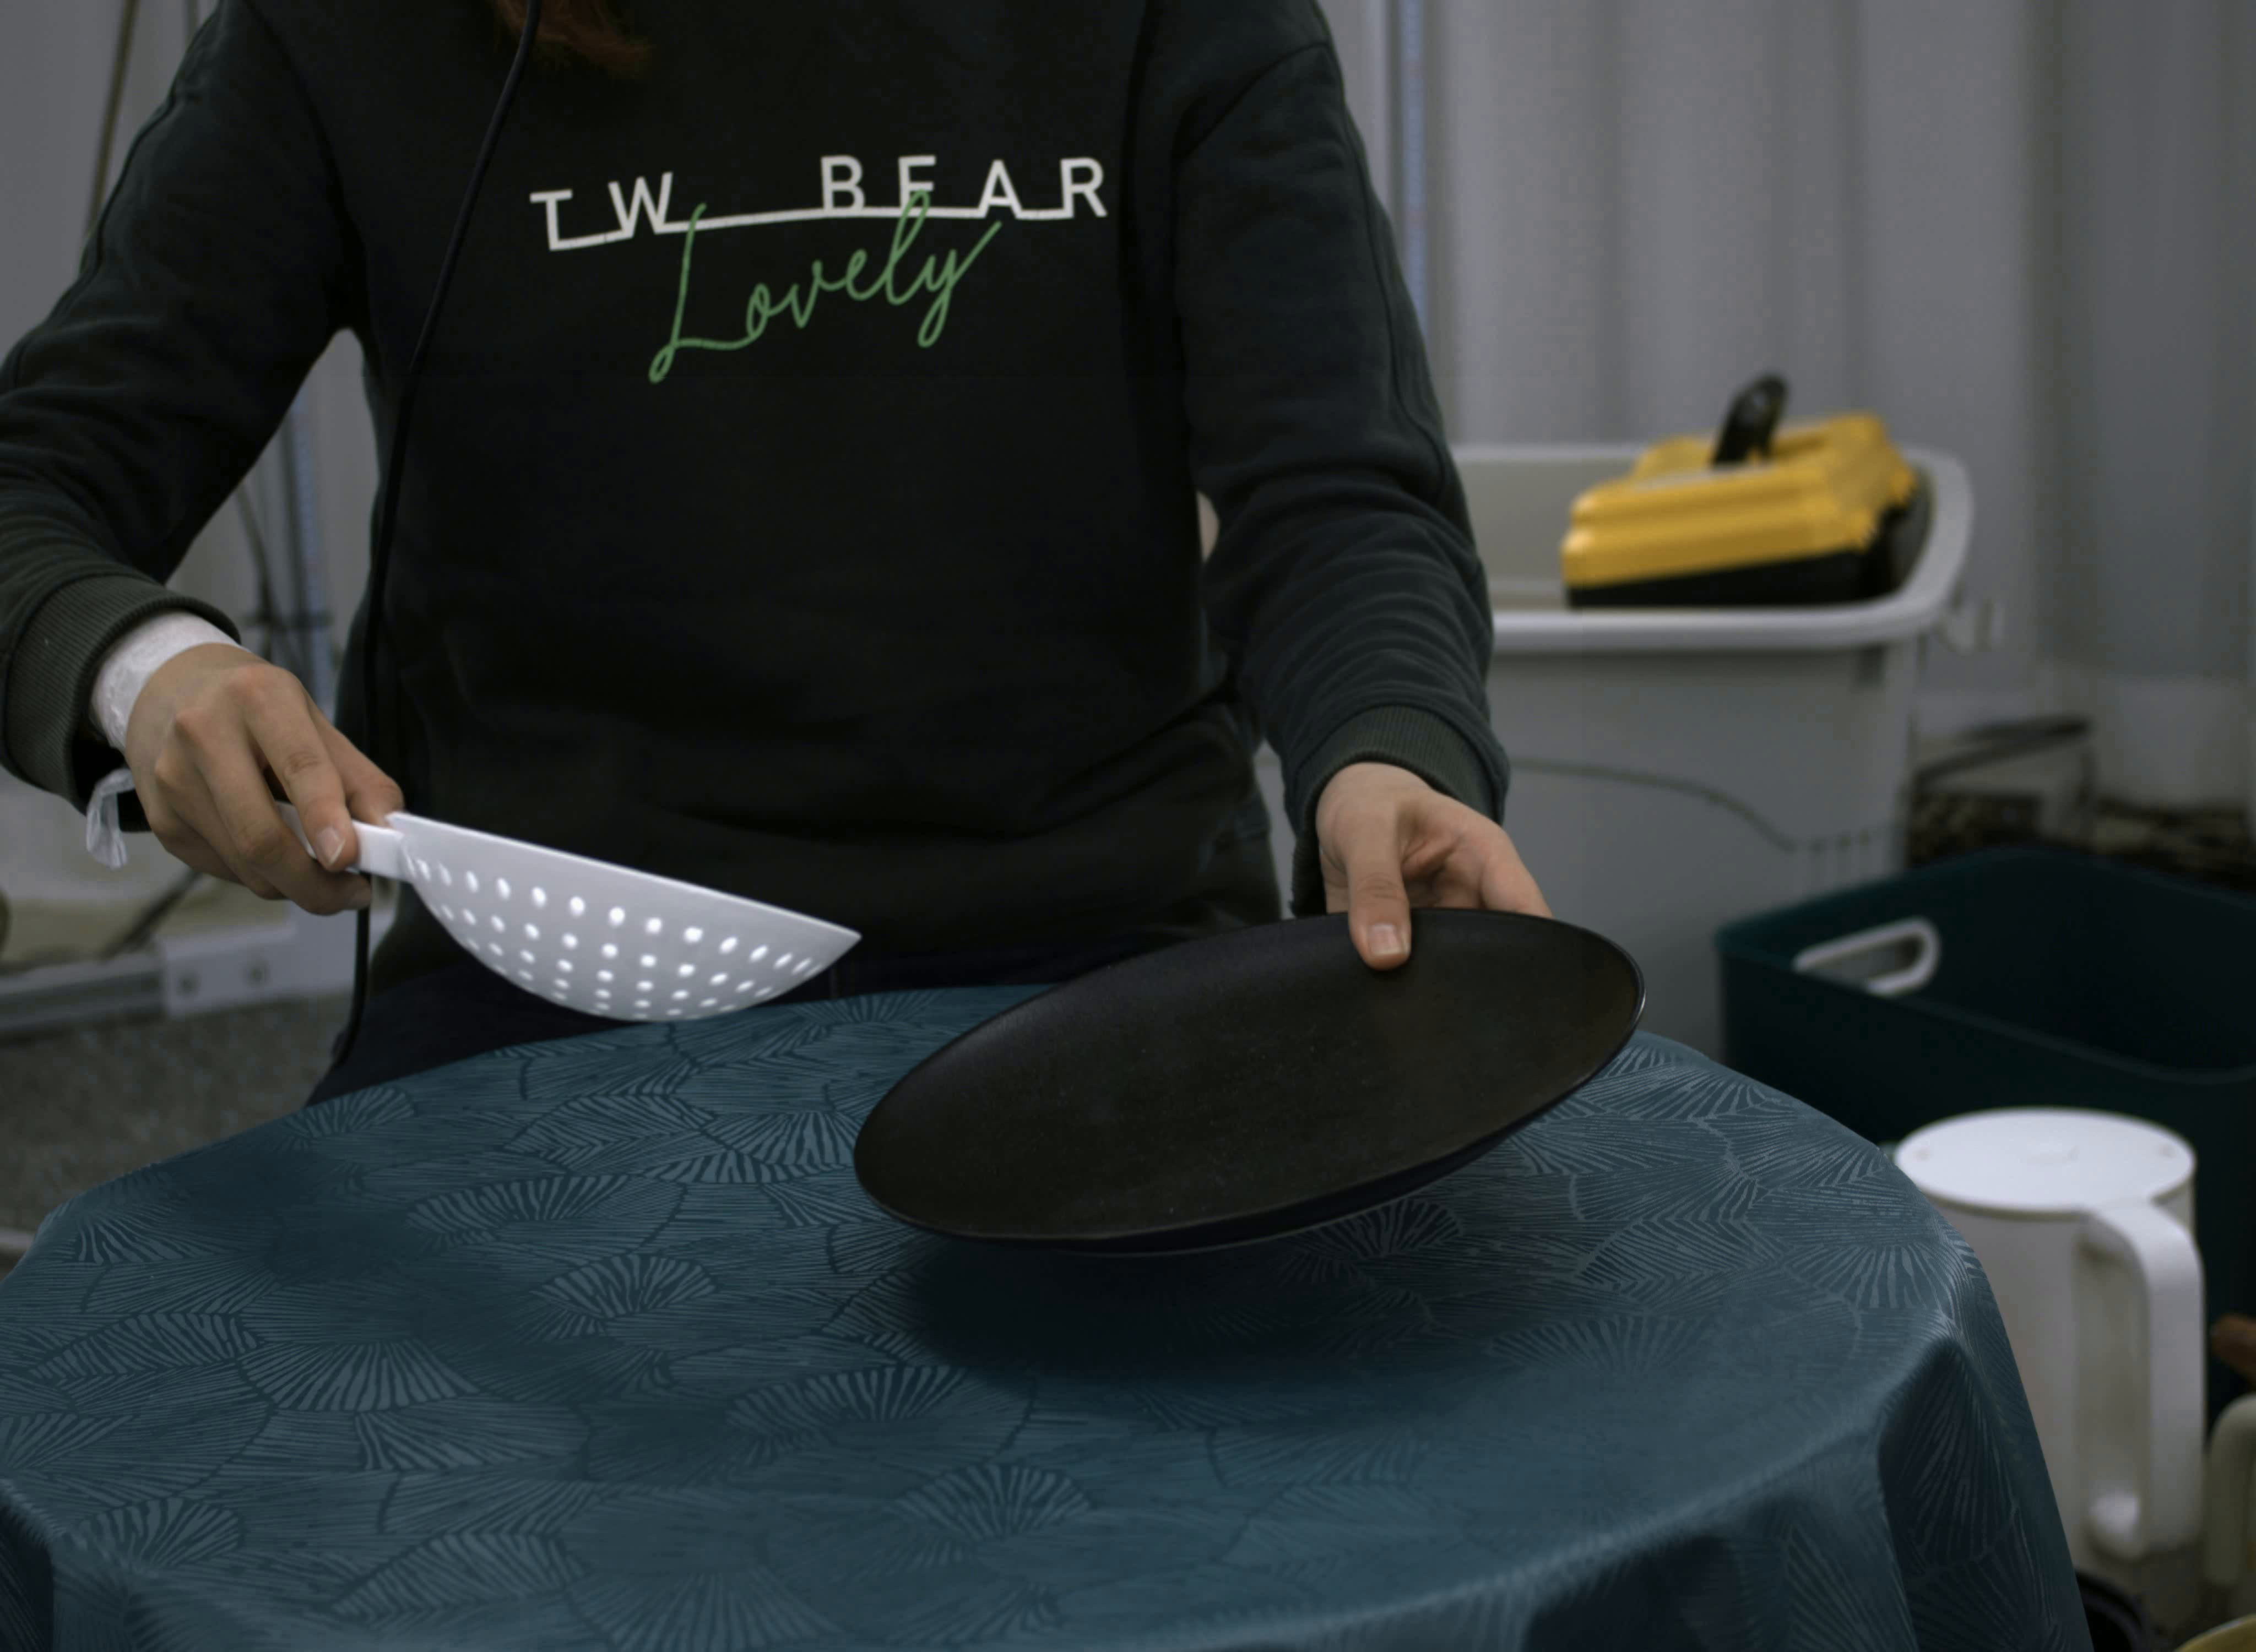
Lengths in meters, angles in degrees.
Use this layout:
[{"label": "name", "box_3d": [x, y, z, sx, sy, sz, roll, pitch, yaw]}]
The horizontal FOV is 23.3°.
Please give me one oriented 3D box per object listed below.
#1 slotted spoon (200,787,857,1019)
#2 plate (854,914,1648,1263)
[{"label": "slotted spoon", "box_3d": [-0.198, 0.011, 1.613, 0.135, 0.046, 0.352, 18, 0, -31]}, {"label": "plate", "box_3d": [0.038, 0.081, 1.637, 0.243, 0.023, 0.246, -13, 17, 3]}]
